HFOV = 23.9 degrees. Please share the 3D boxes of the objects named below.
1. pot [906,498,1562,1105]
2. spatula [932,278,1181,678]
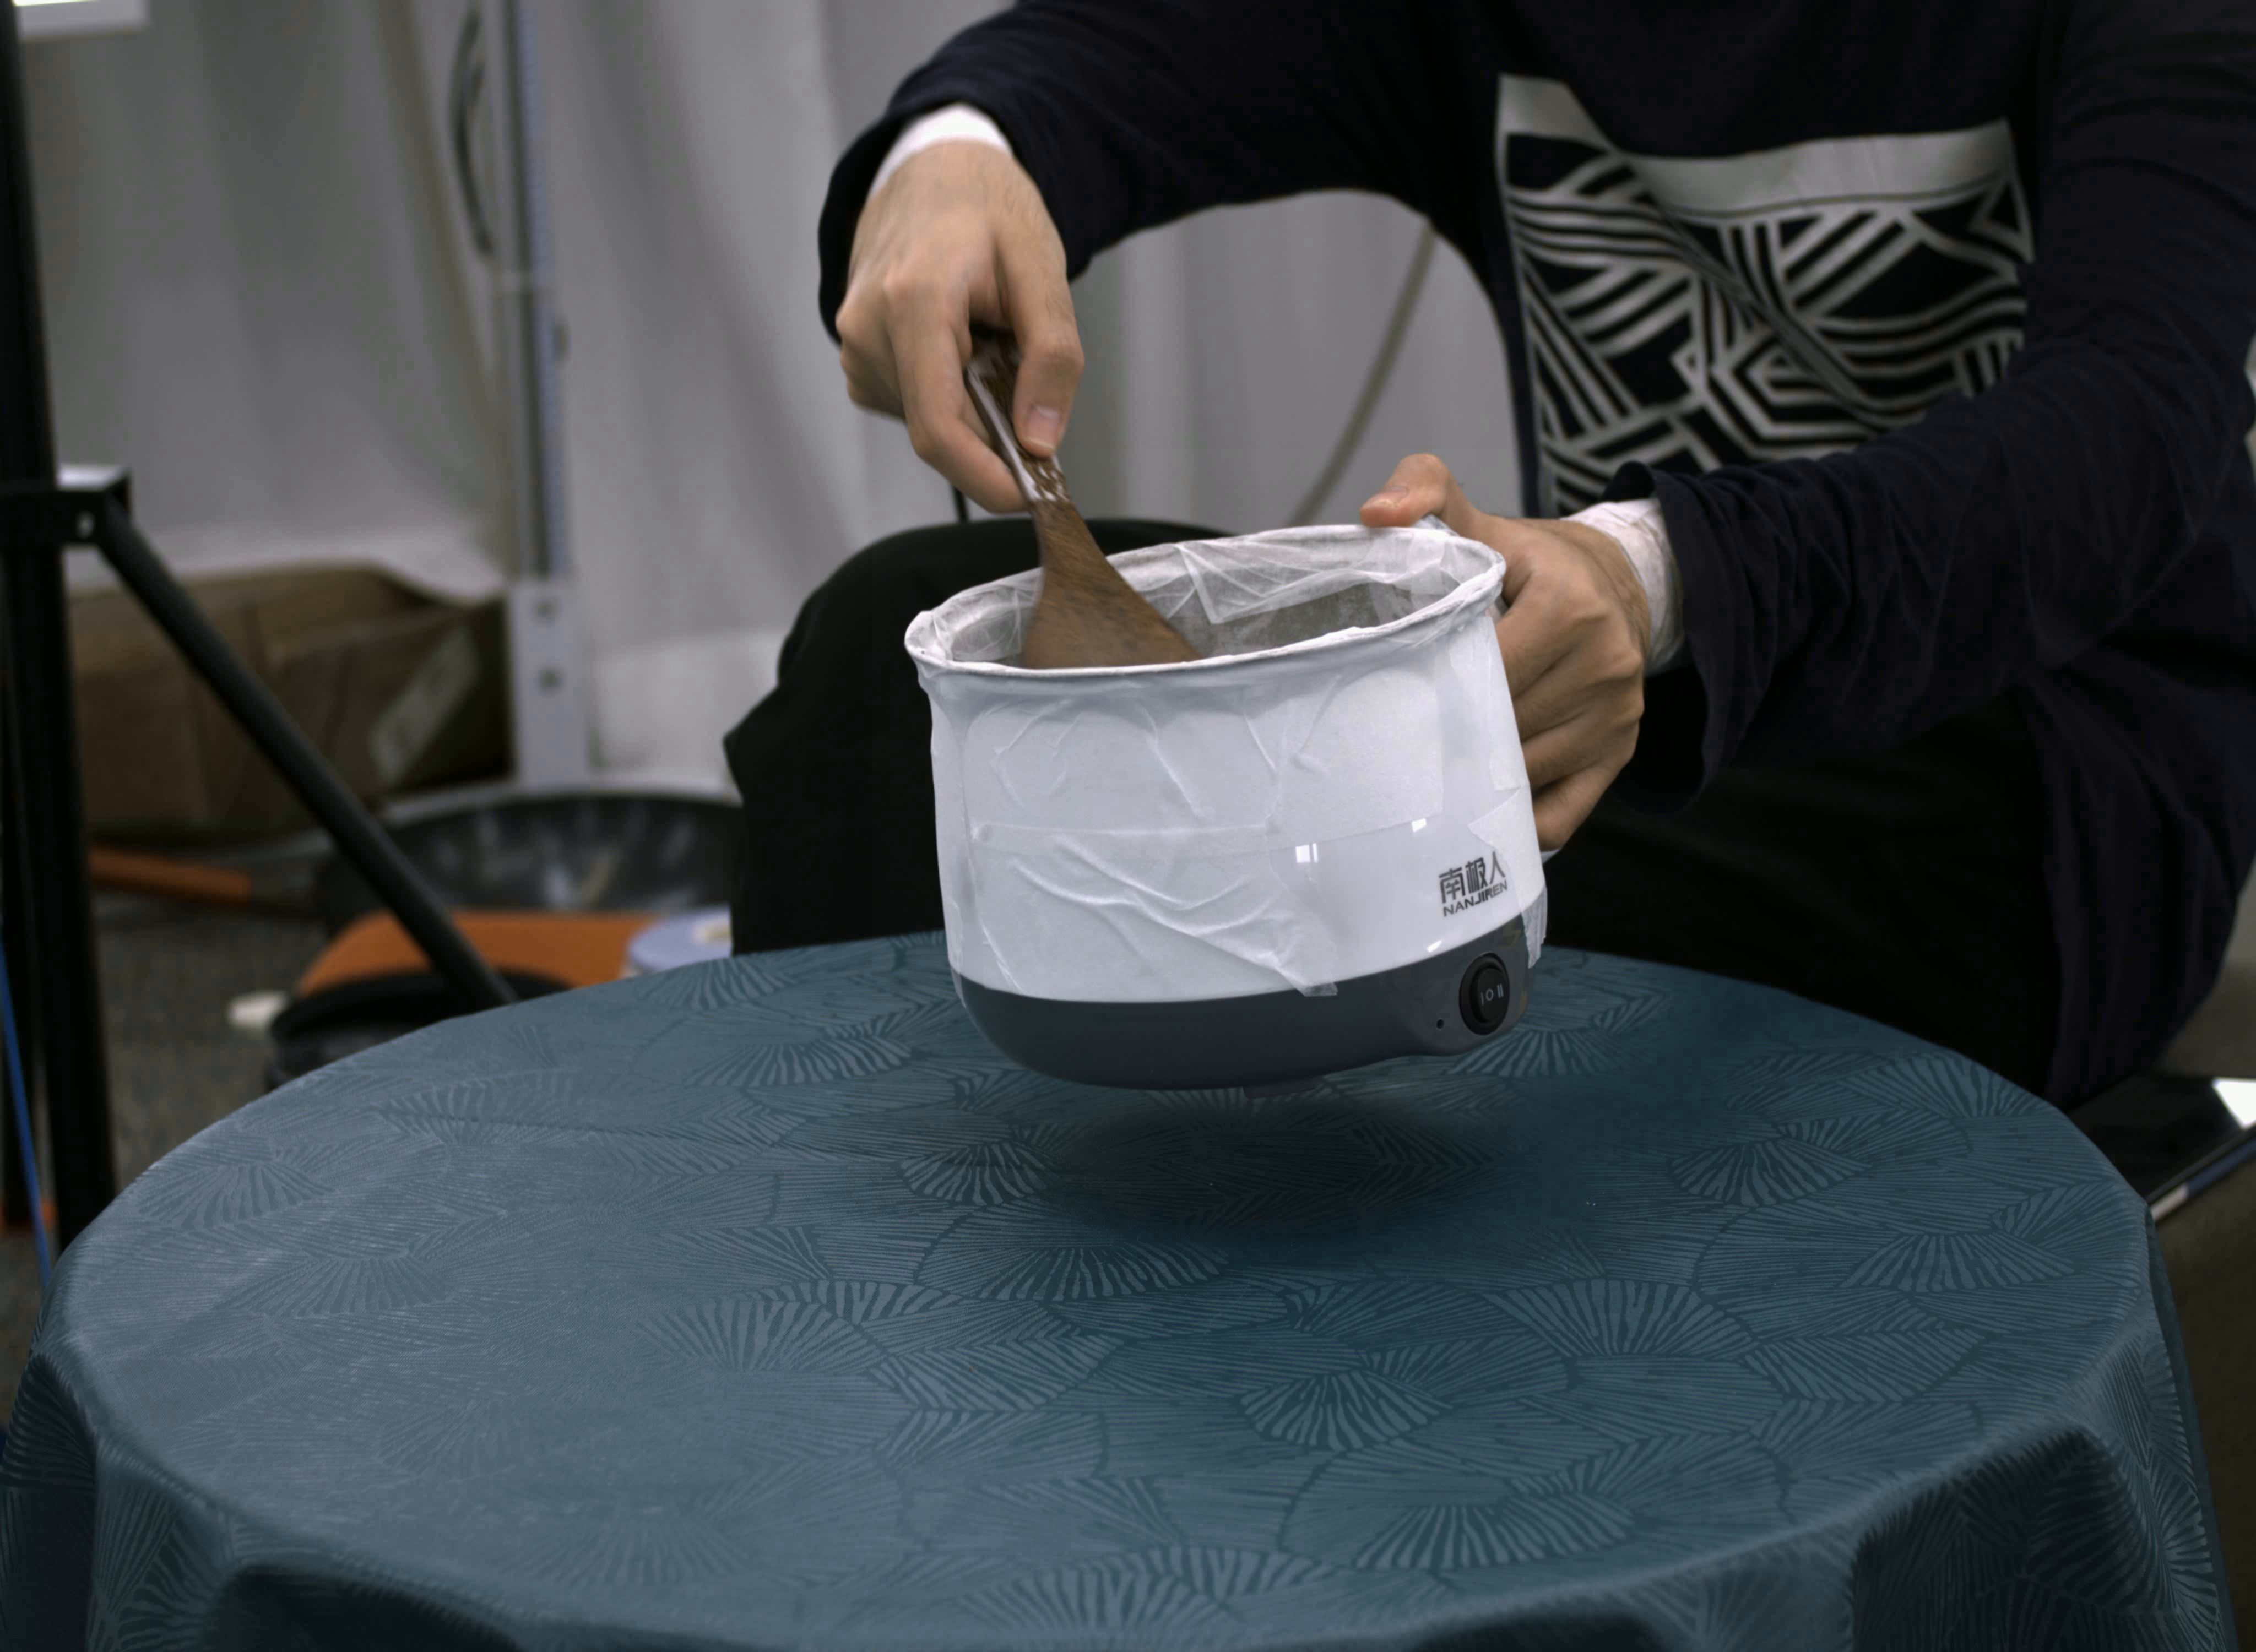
[{"bbox_3d":[0.047,-0.013,1.576,0.182,0.136,0.229,7,21,40],"label":"pot"},{"bbox_3d":[-0.022,-0.084,1.604,0.070,0.009,0.219,5,49,-31],"label":"spatula"}]
